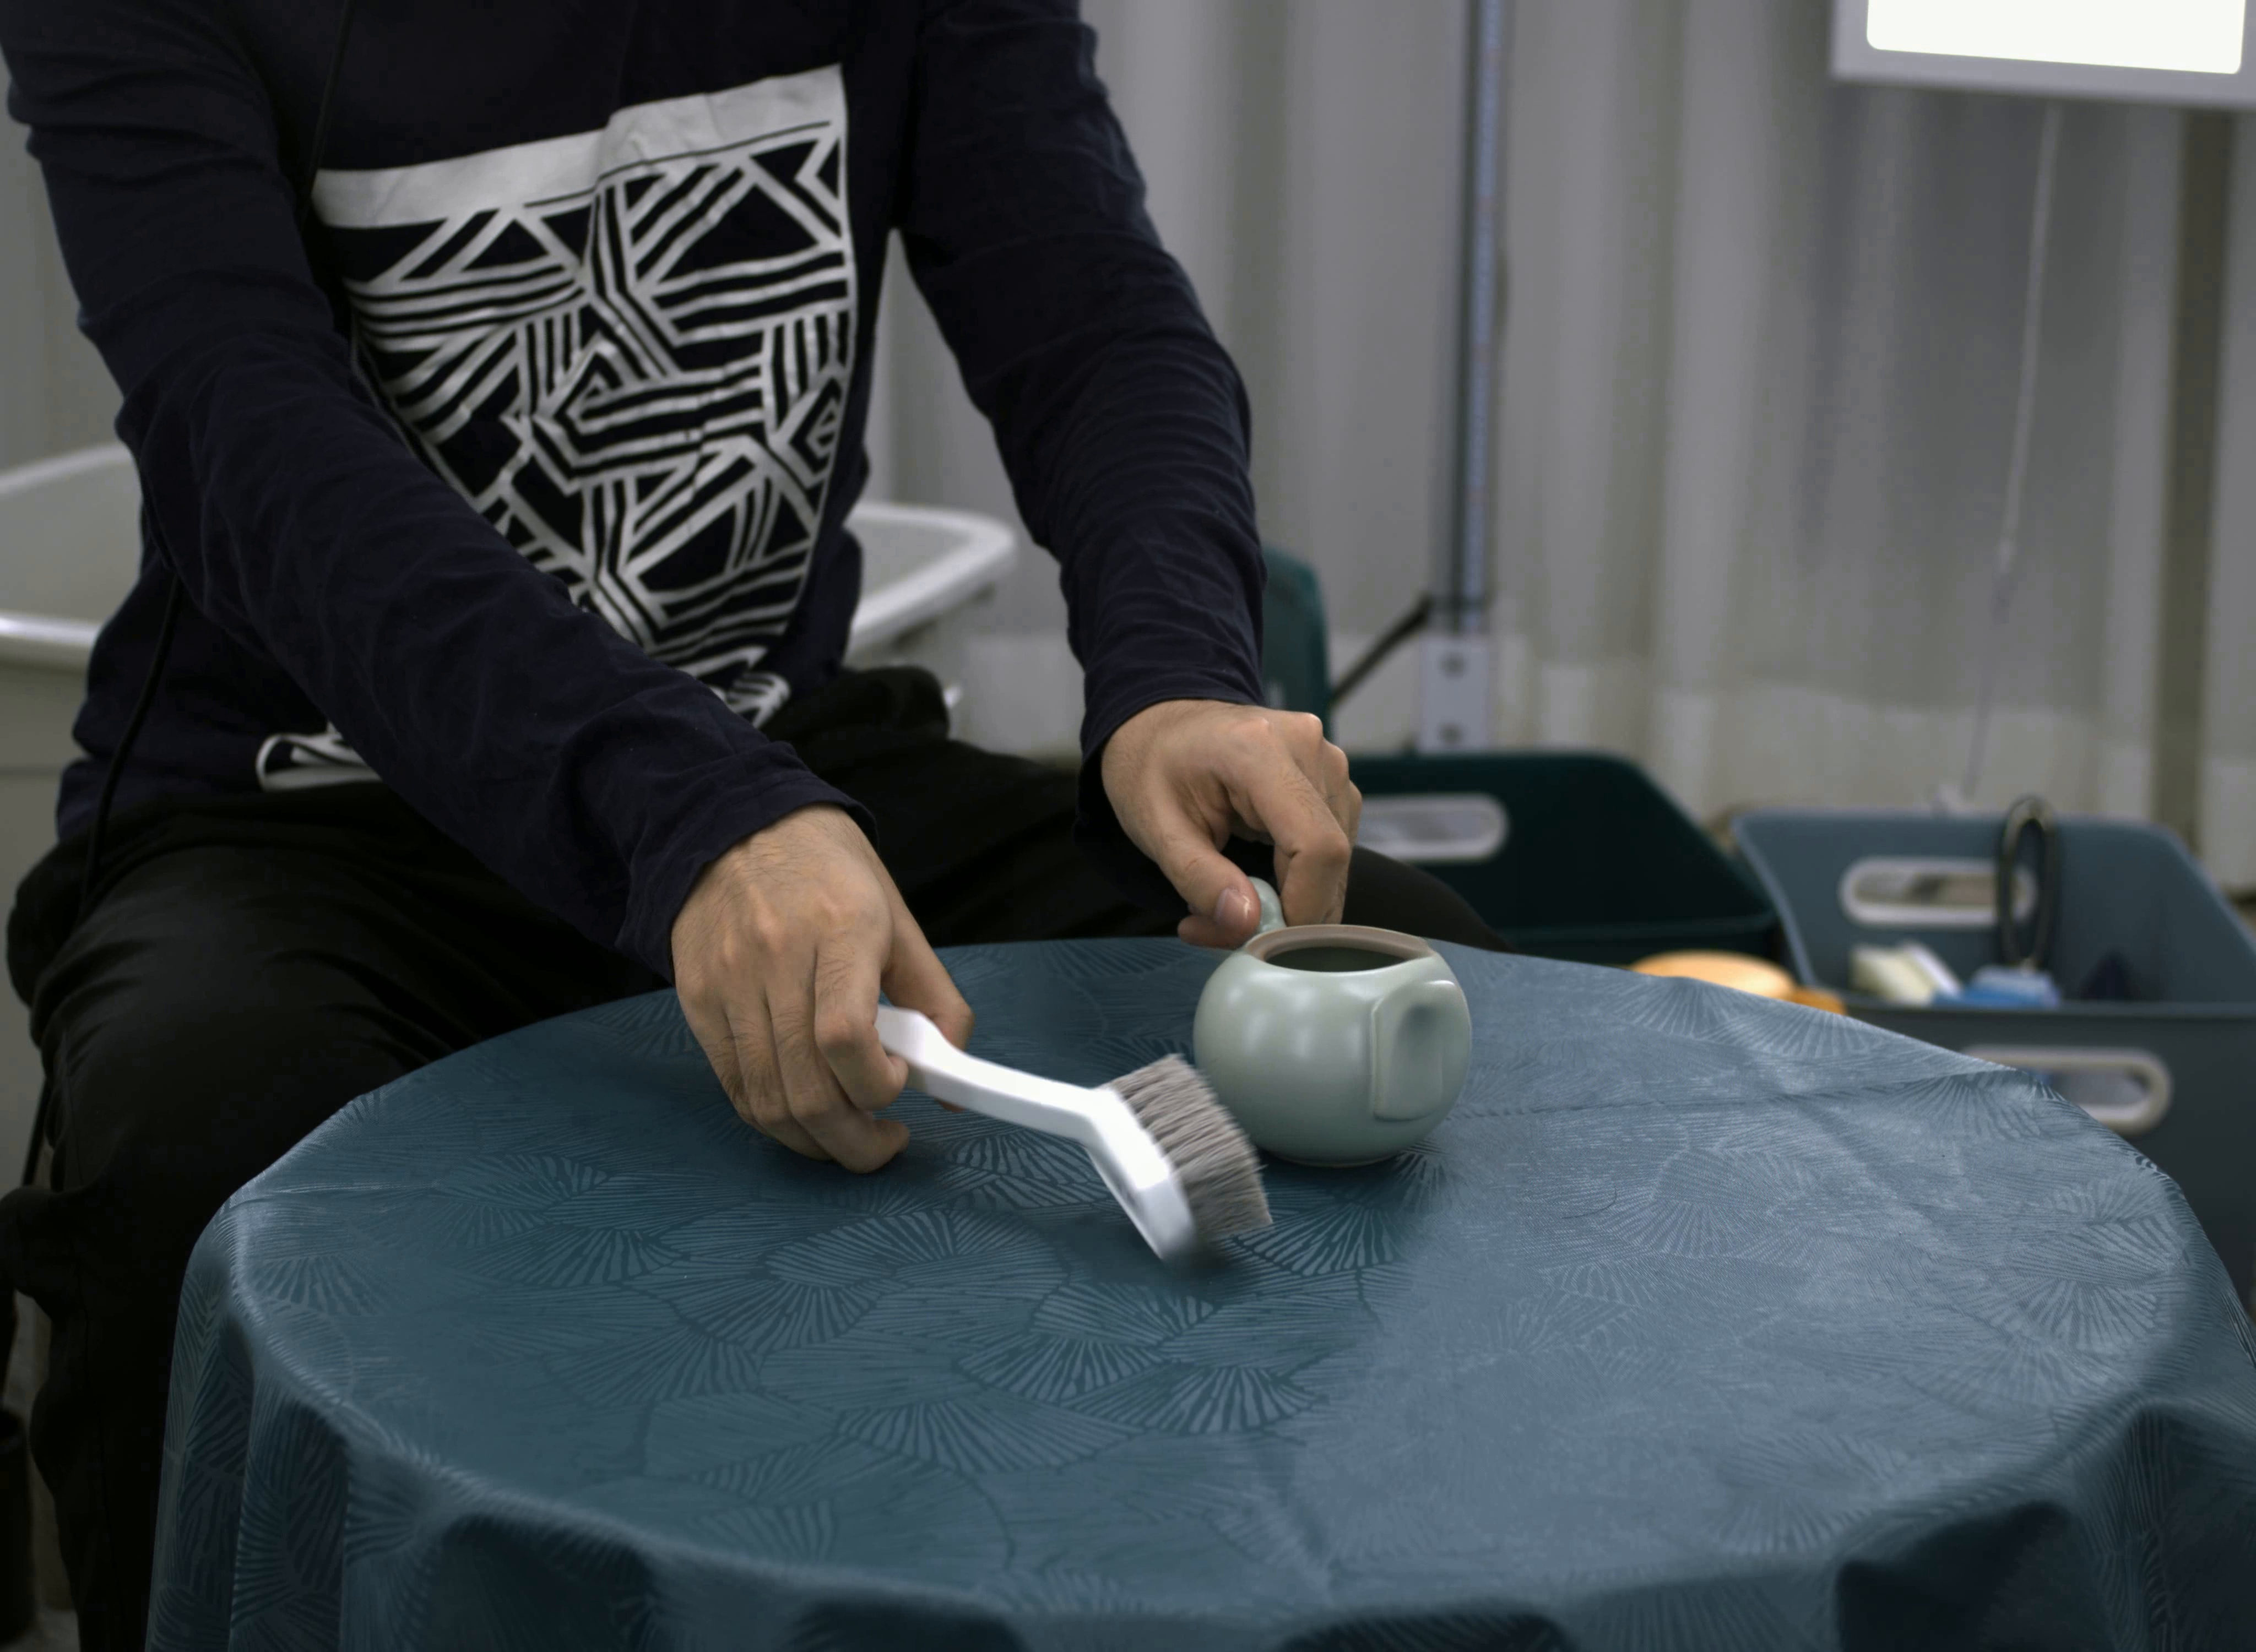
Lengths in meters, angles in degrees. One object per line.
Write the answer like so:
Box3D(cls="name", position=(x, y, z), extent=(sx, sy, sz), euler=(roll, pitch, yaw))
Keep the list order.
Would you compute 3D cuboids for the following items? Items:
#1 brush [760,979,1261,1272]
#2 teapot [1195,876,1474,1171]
Box3D(cls="brush", position=(-0.038, 0.076, 1.630), extent=(0.050, 0.035, 0.240), euler=(-45, 36, -14))
Box3D(cls="teapot", position=(0.065, 0.067, 1.658), extent=(0.088, 0.075, 0.142), euler=(-8, 19, -25))
